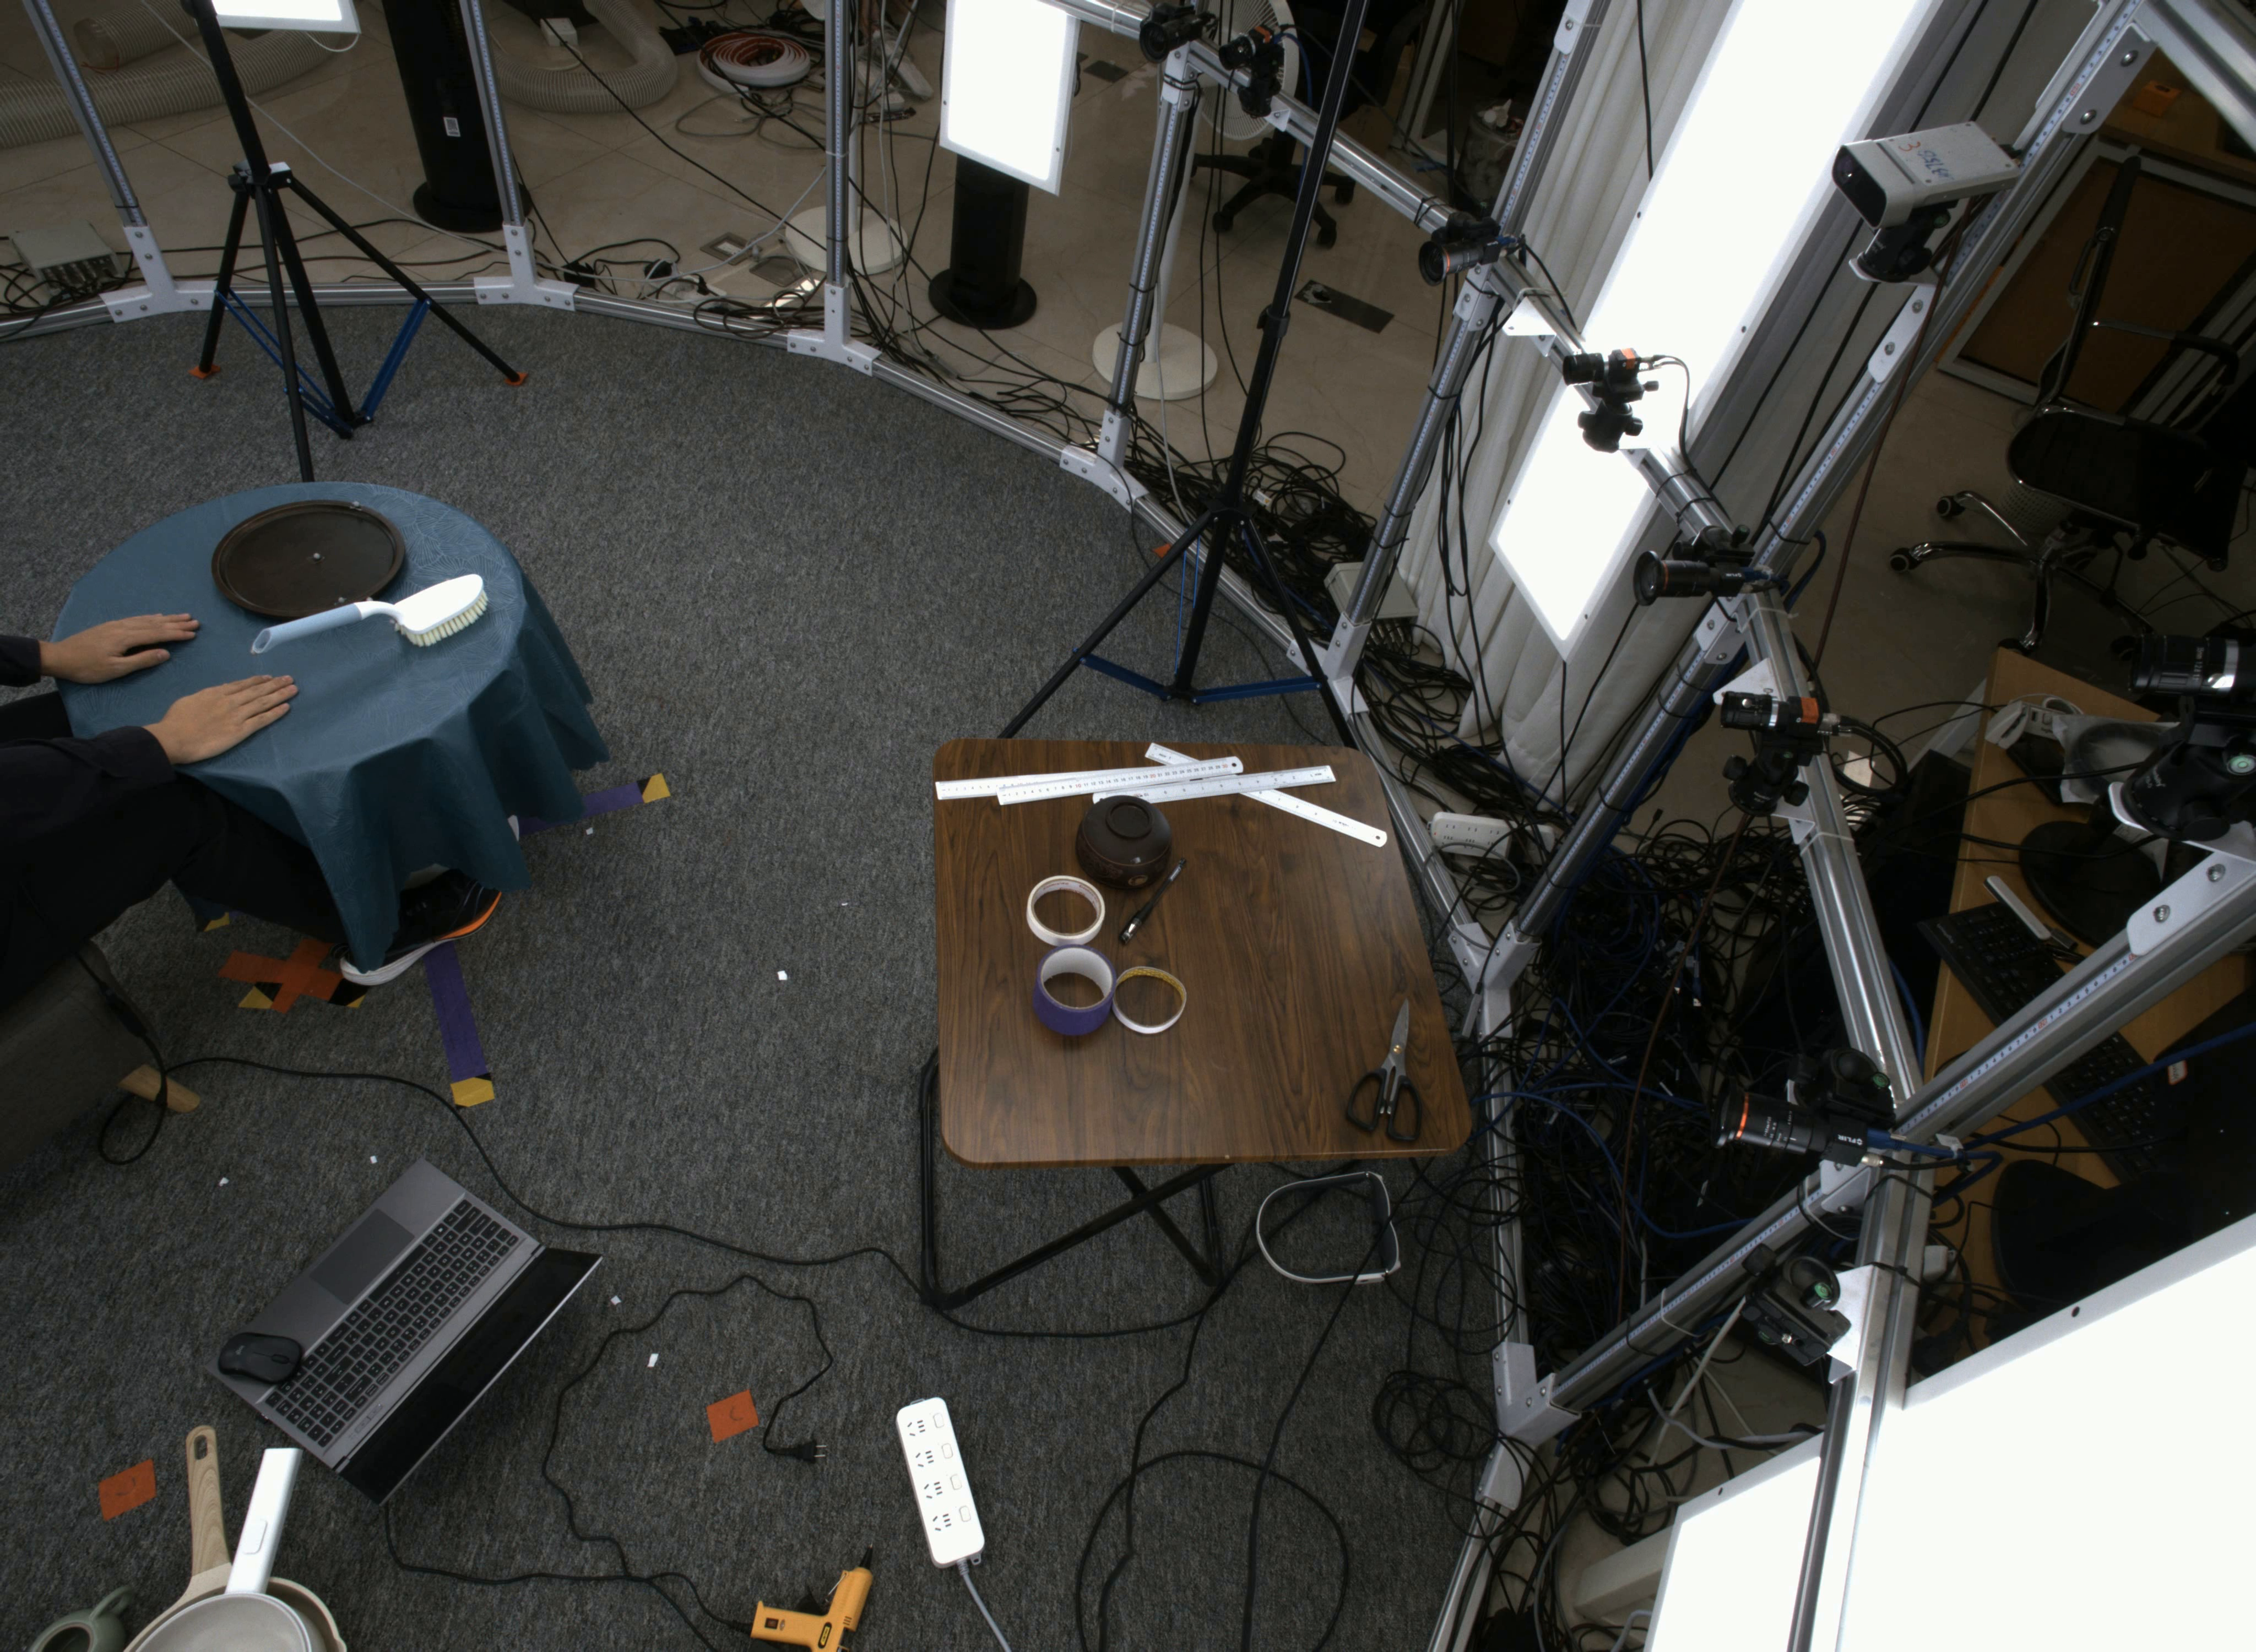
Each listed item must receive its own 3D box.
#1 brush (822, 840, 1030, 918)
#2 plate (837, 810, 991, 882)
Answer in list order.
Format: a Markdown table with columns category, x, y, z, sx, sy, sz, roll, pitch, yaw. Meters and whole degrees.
| category | x | y | z | sx | sy | sz | roll | pitch | yaw |
| --- | --- | --- | --- | --- | --- | --- | --- | --- | --- |
| brush | -0.303 | 0.090 | 1.956 | 0.330 | 0.084 | 0.082 | 10 | -17 | -25 |
| plate | -0.353 | 0.029 | 2.154 | 0.253 | 0.030 | 0.250 | 8 | 25 | -2 |
